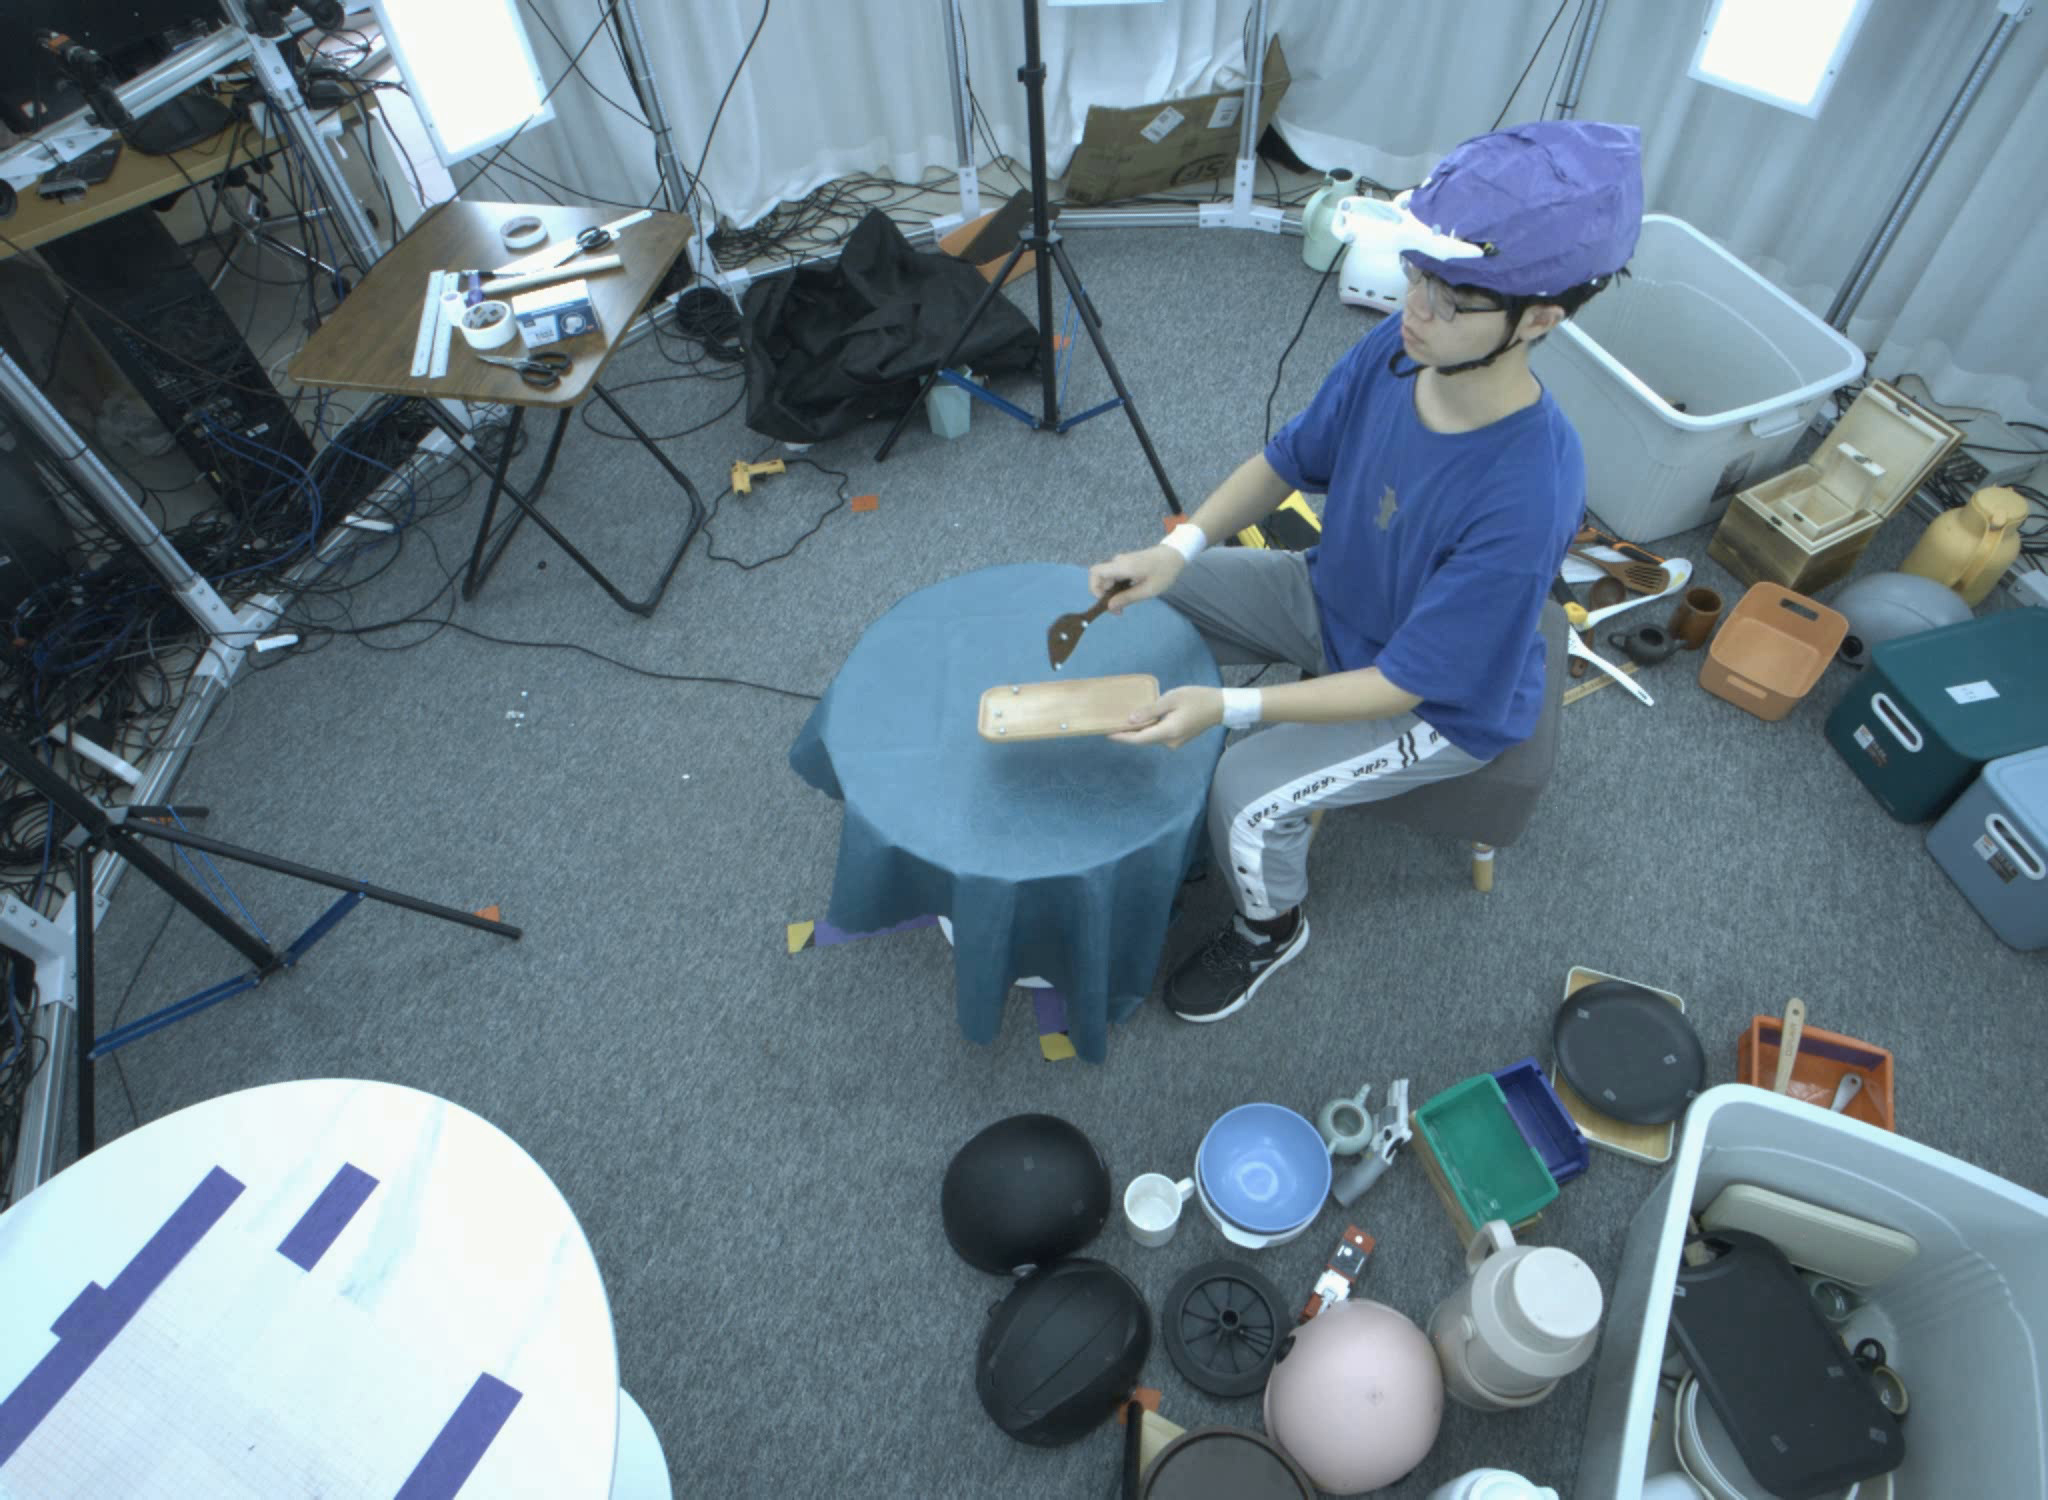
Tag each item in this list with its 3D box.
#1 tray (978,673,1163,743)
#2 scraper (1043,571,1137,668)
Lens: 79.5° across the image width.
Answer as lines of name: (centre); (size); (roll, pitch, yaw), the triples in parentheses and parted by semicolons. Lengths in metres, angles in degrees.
tray: (0.064, -0.057, 1.685); (0.250, 0.023, 0.129); (-4, 38, 4)
scraper: (0.094, -0.194, 1.733); (0.010, 0.077, 0.213); (20, 47, 37)
